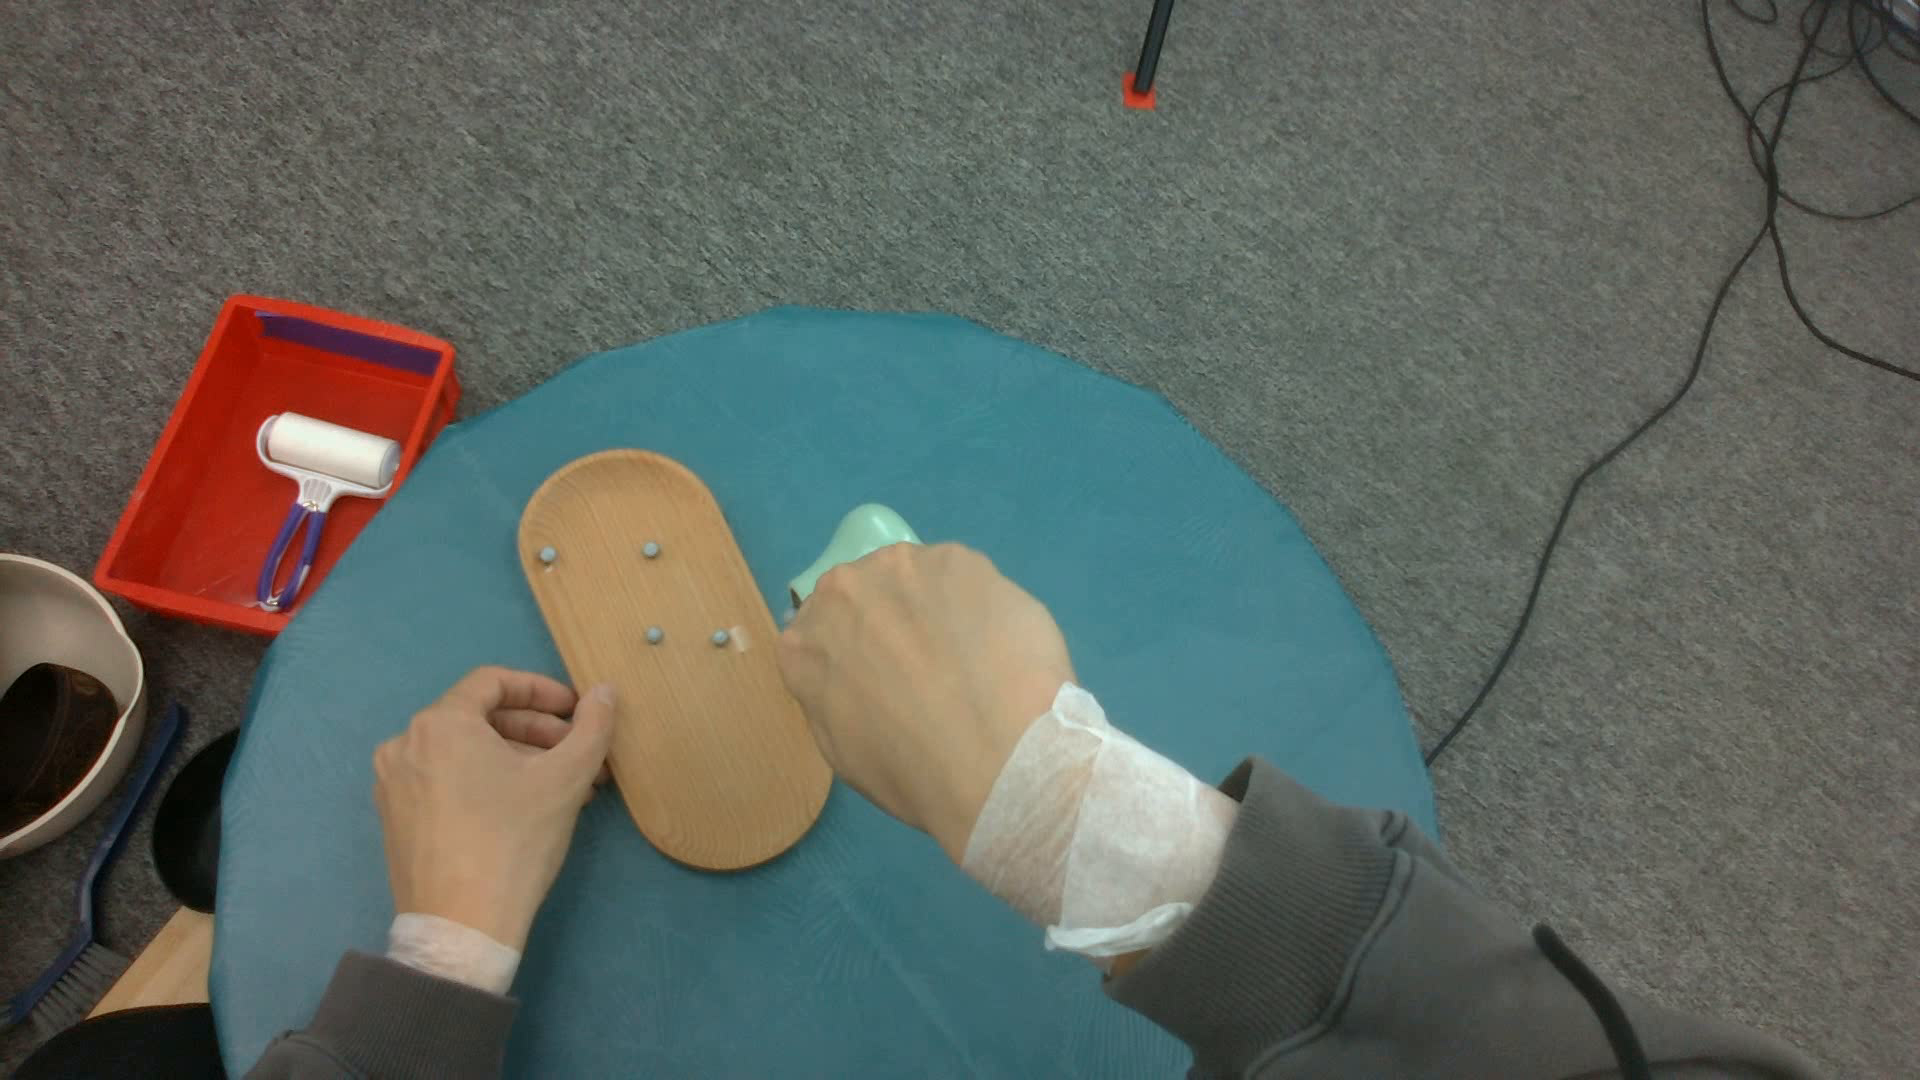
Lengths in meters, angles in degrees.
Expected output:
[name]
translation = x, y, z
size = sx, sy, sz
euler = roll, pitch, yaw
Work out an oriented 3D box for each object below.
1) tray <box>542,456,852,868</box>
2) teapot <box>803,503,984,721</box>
[tray]
translation = -0.136, 0.058, 0.705
size = 0.102, 0.020, 0.231
euler = -24, 73, -18
[teapot]
translation = -0.028, 0.035, 0.571
size = 0.061, 0.136, 0.096
euler = -23, 87, -11
